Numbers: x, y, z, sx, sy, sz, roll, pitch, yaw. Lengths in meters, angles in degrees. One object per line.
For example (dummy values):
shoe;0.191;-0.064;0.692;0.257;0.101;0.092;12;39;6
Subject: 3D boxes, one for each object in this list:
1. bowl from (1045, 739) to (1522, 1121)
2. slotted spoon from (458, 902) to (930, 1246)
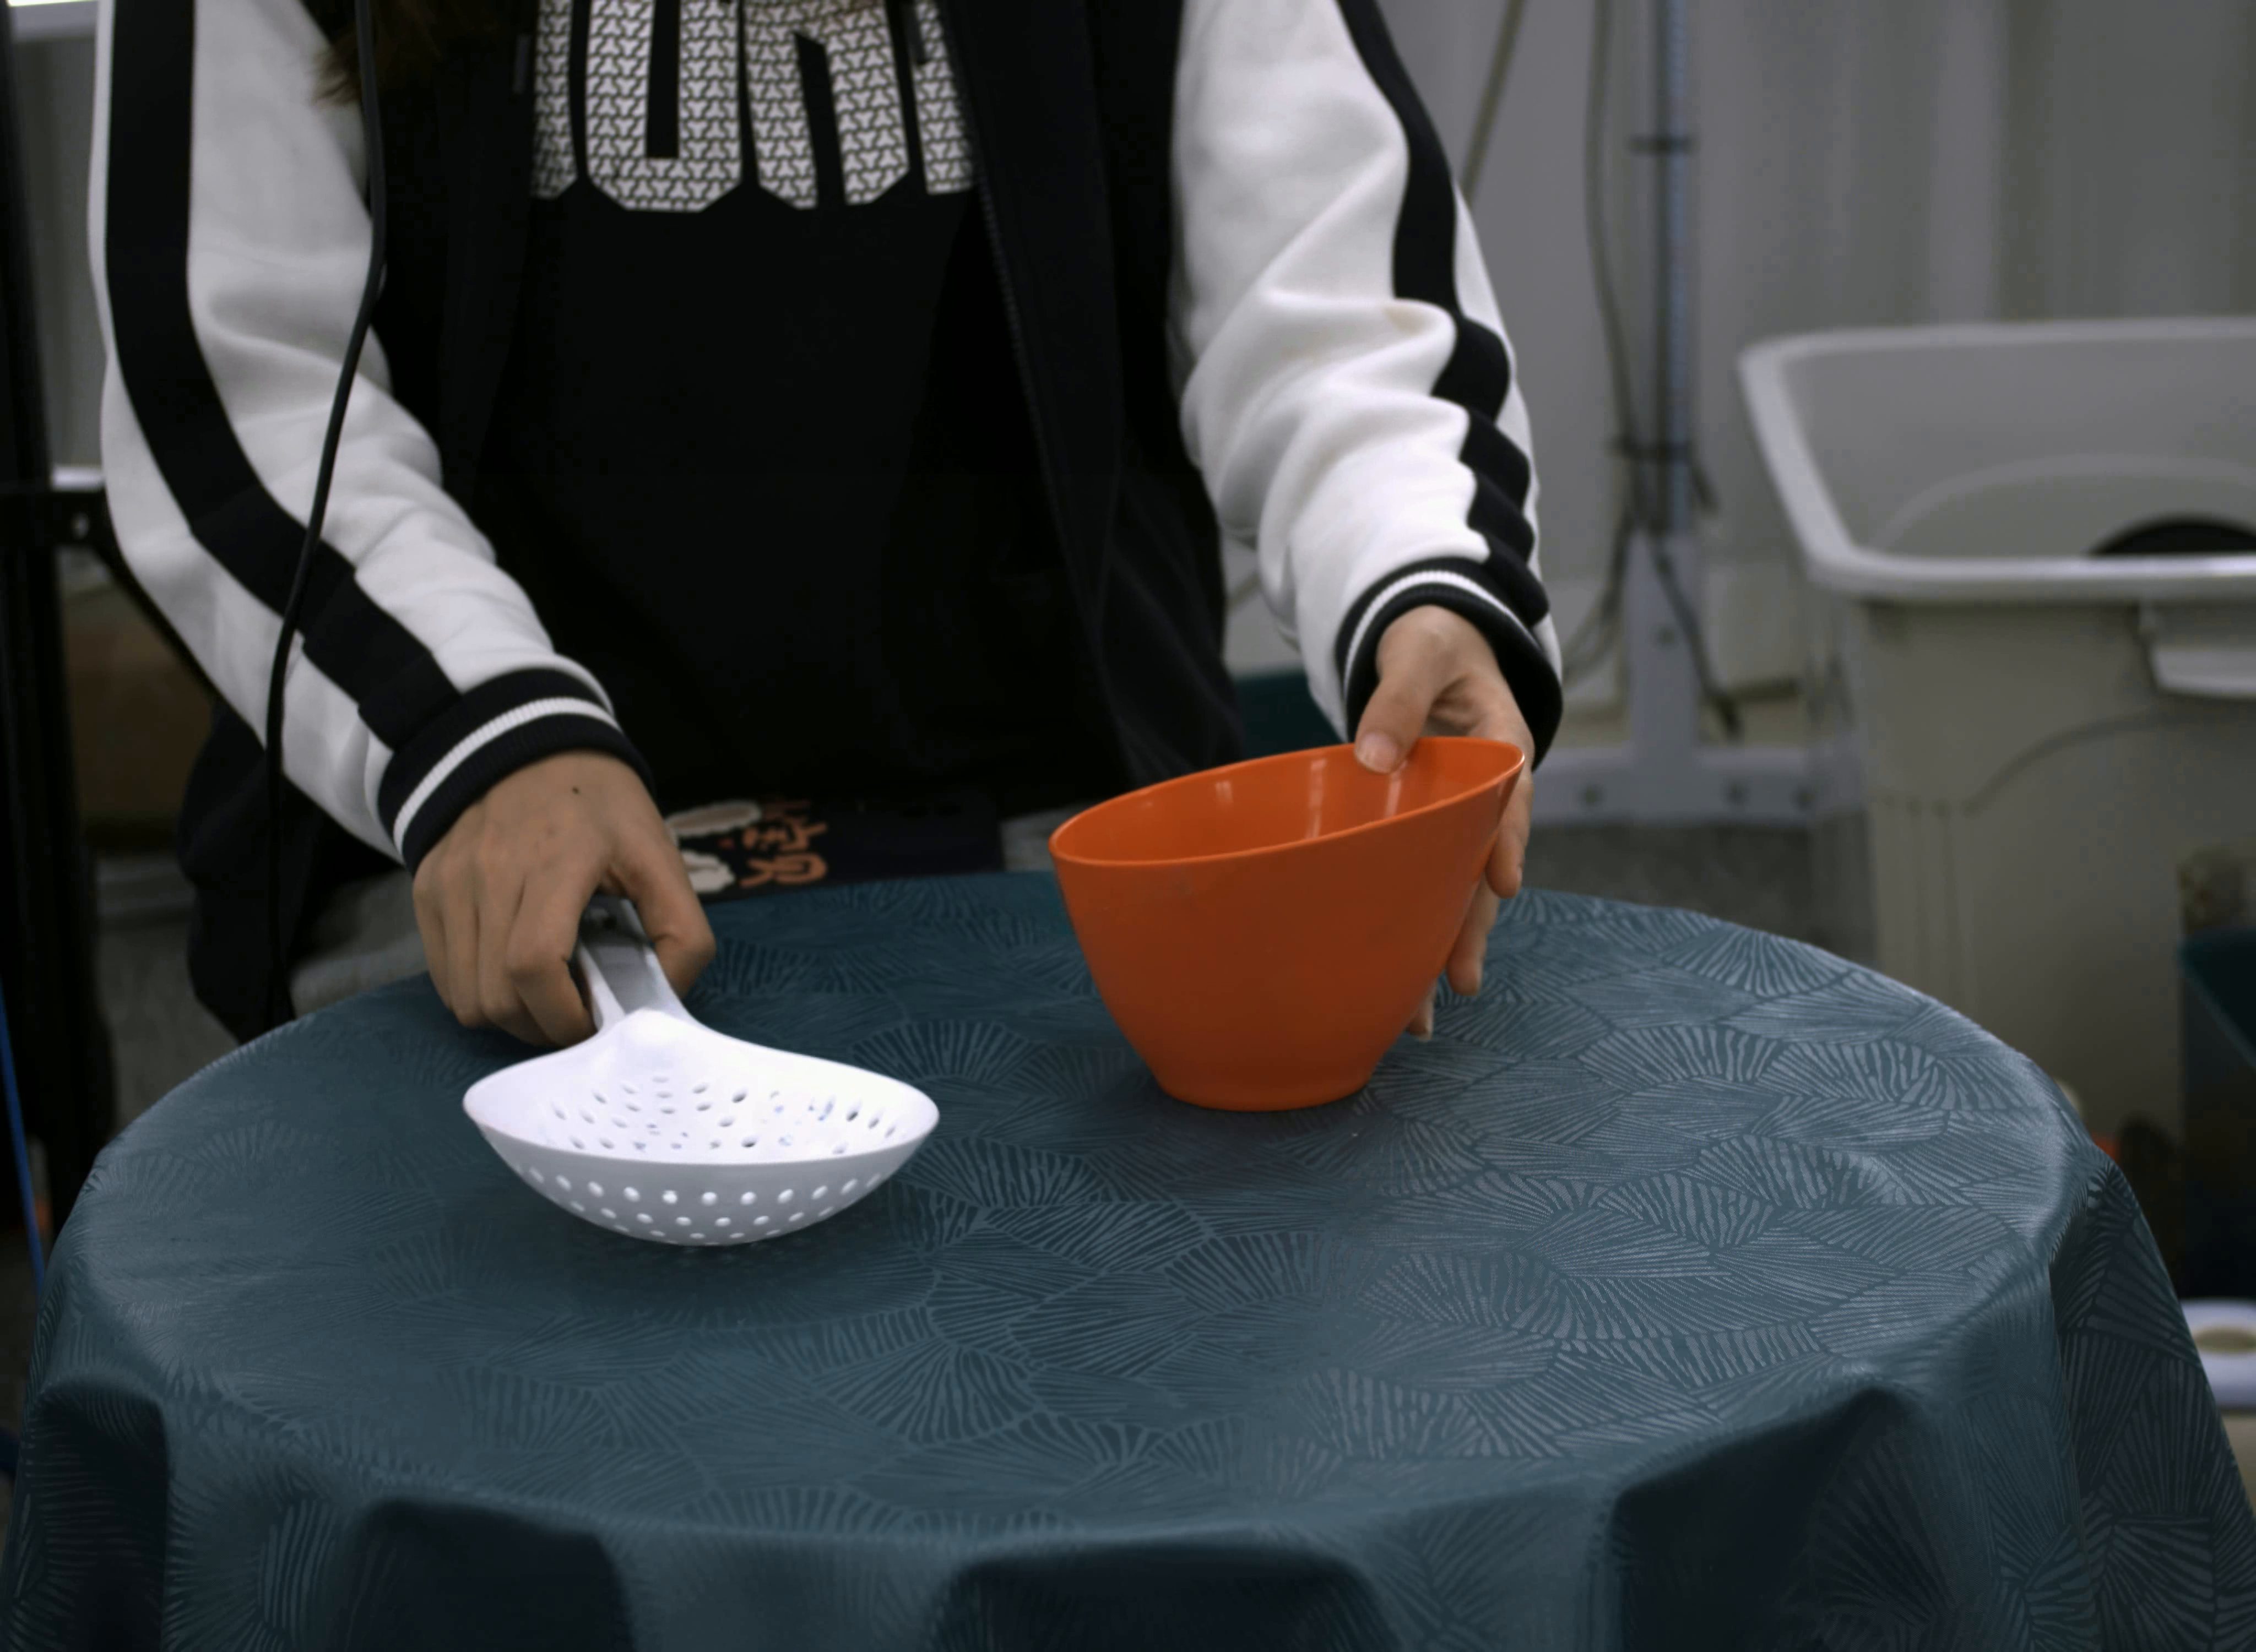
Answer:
bowl;0.049;0.033;1.634;0.147;0.104;0.149;-4;16;0
slotted spoon;-0.146;0.067;1.637;0.134;0.046;0.354;-1;16;-11
